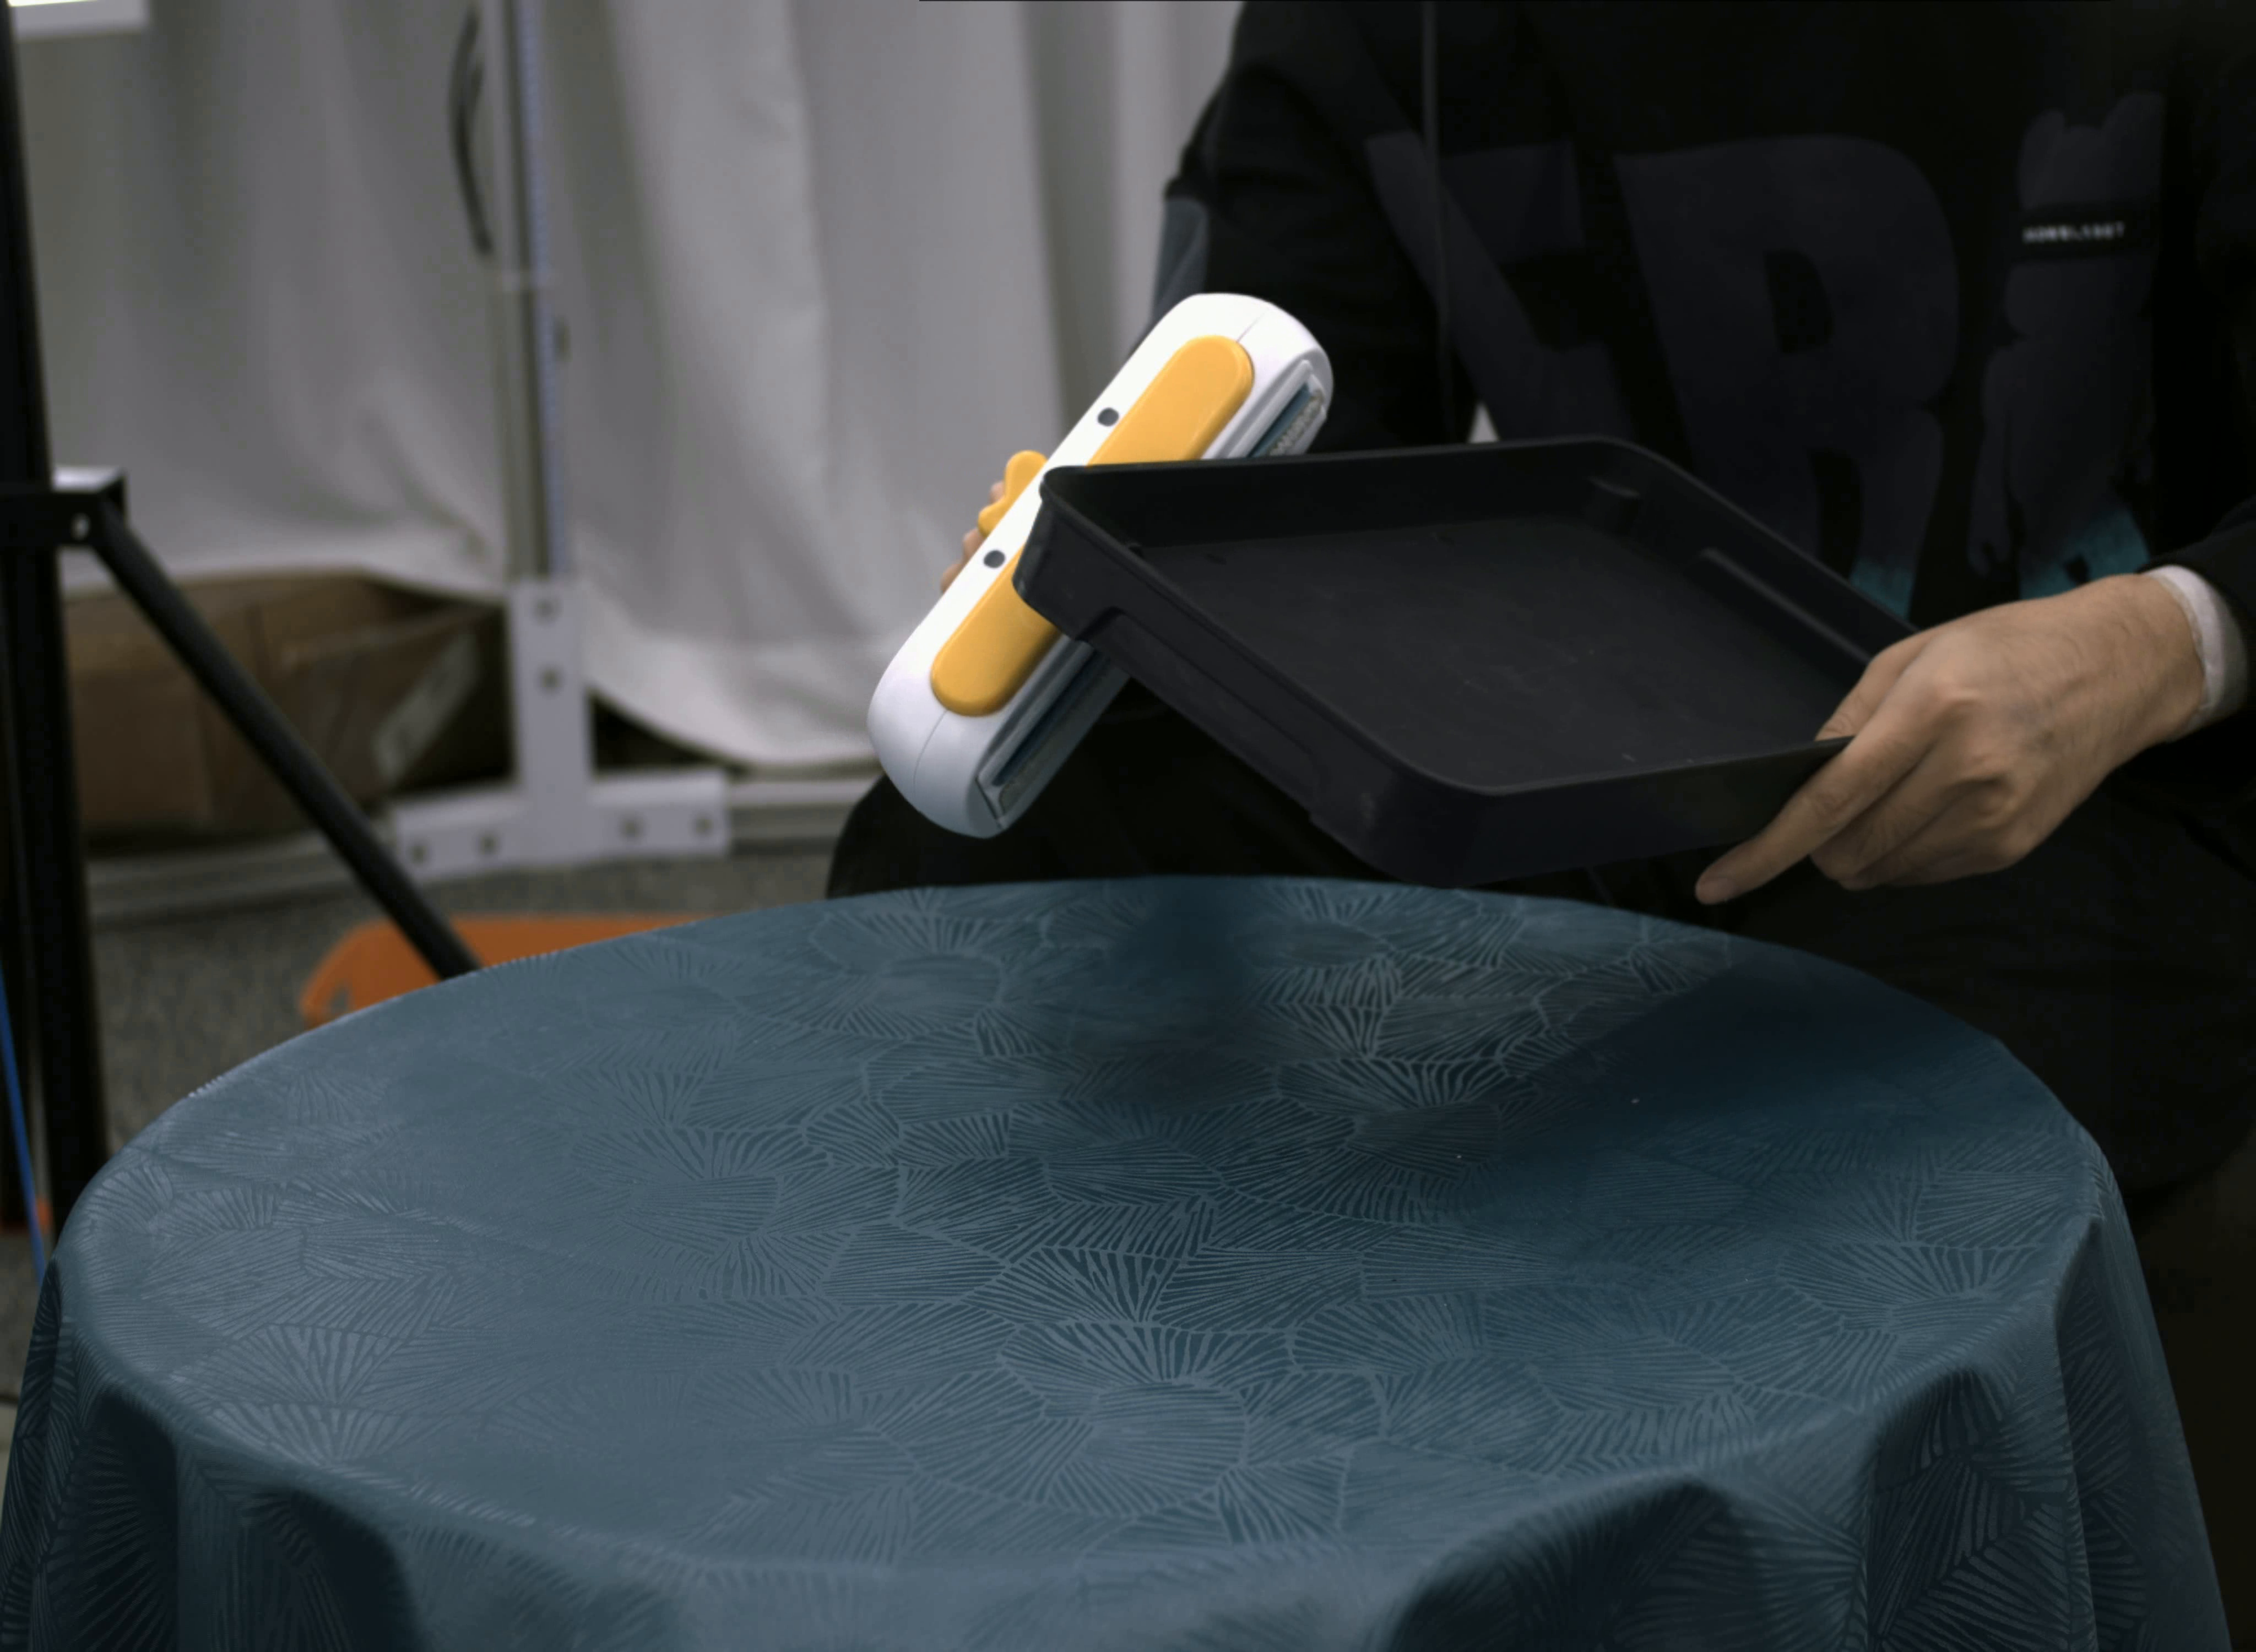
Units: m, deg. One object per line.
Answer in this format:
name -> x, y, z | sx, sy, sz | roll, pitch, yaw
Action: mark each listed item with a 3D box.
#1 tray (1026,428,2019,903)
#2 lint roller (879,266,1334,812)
tray -> 0.126, -0.055, 1.627 | 0.188, 0.037, 0.310 | 37, 28, 31
lint roller -> -0.011, -0.073, 1.707 | 0.075, 0.192, 0.191 | 31, -16, 11
